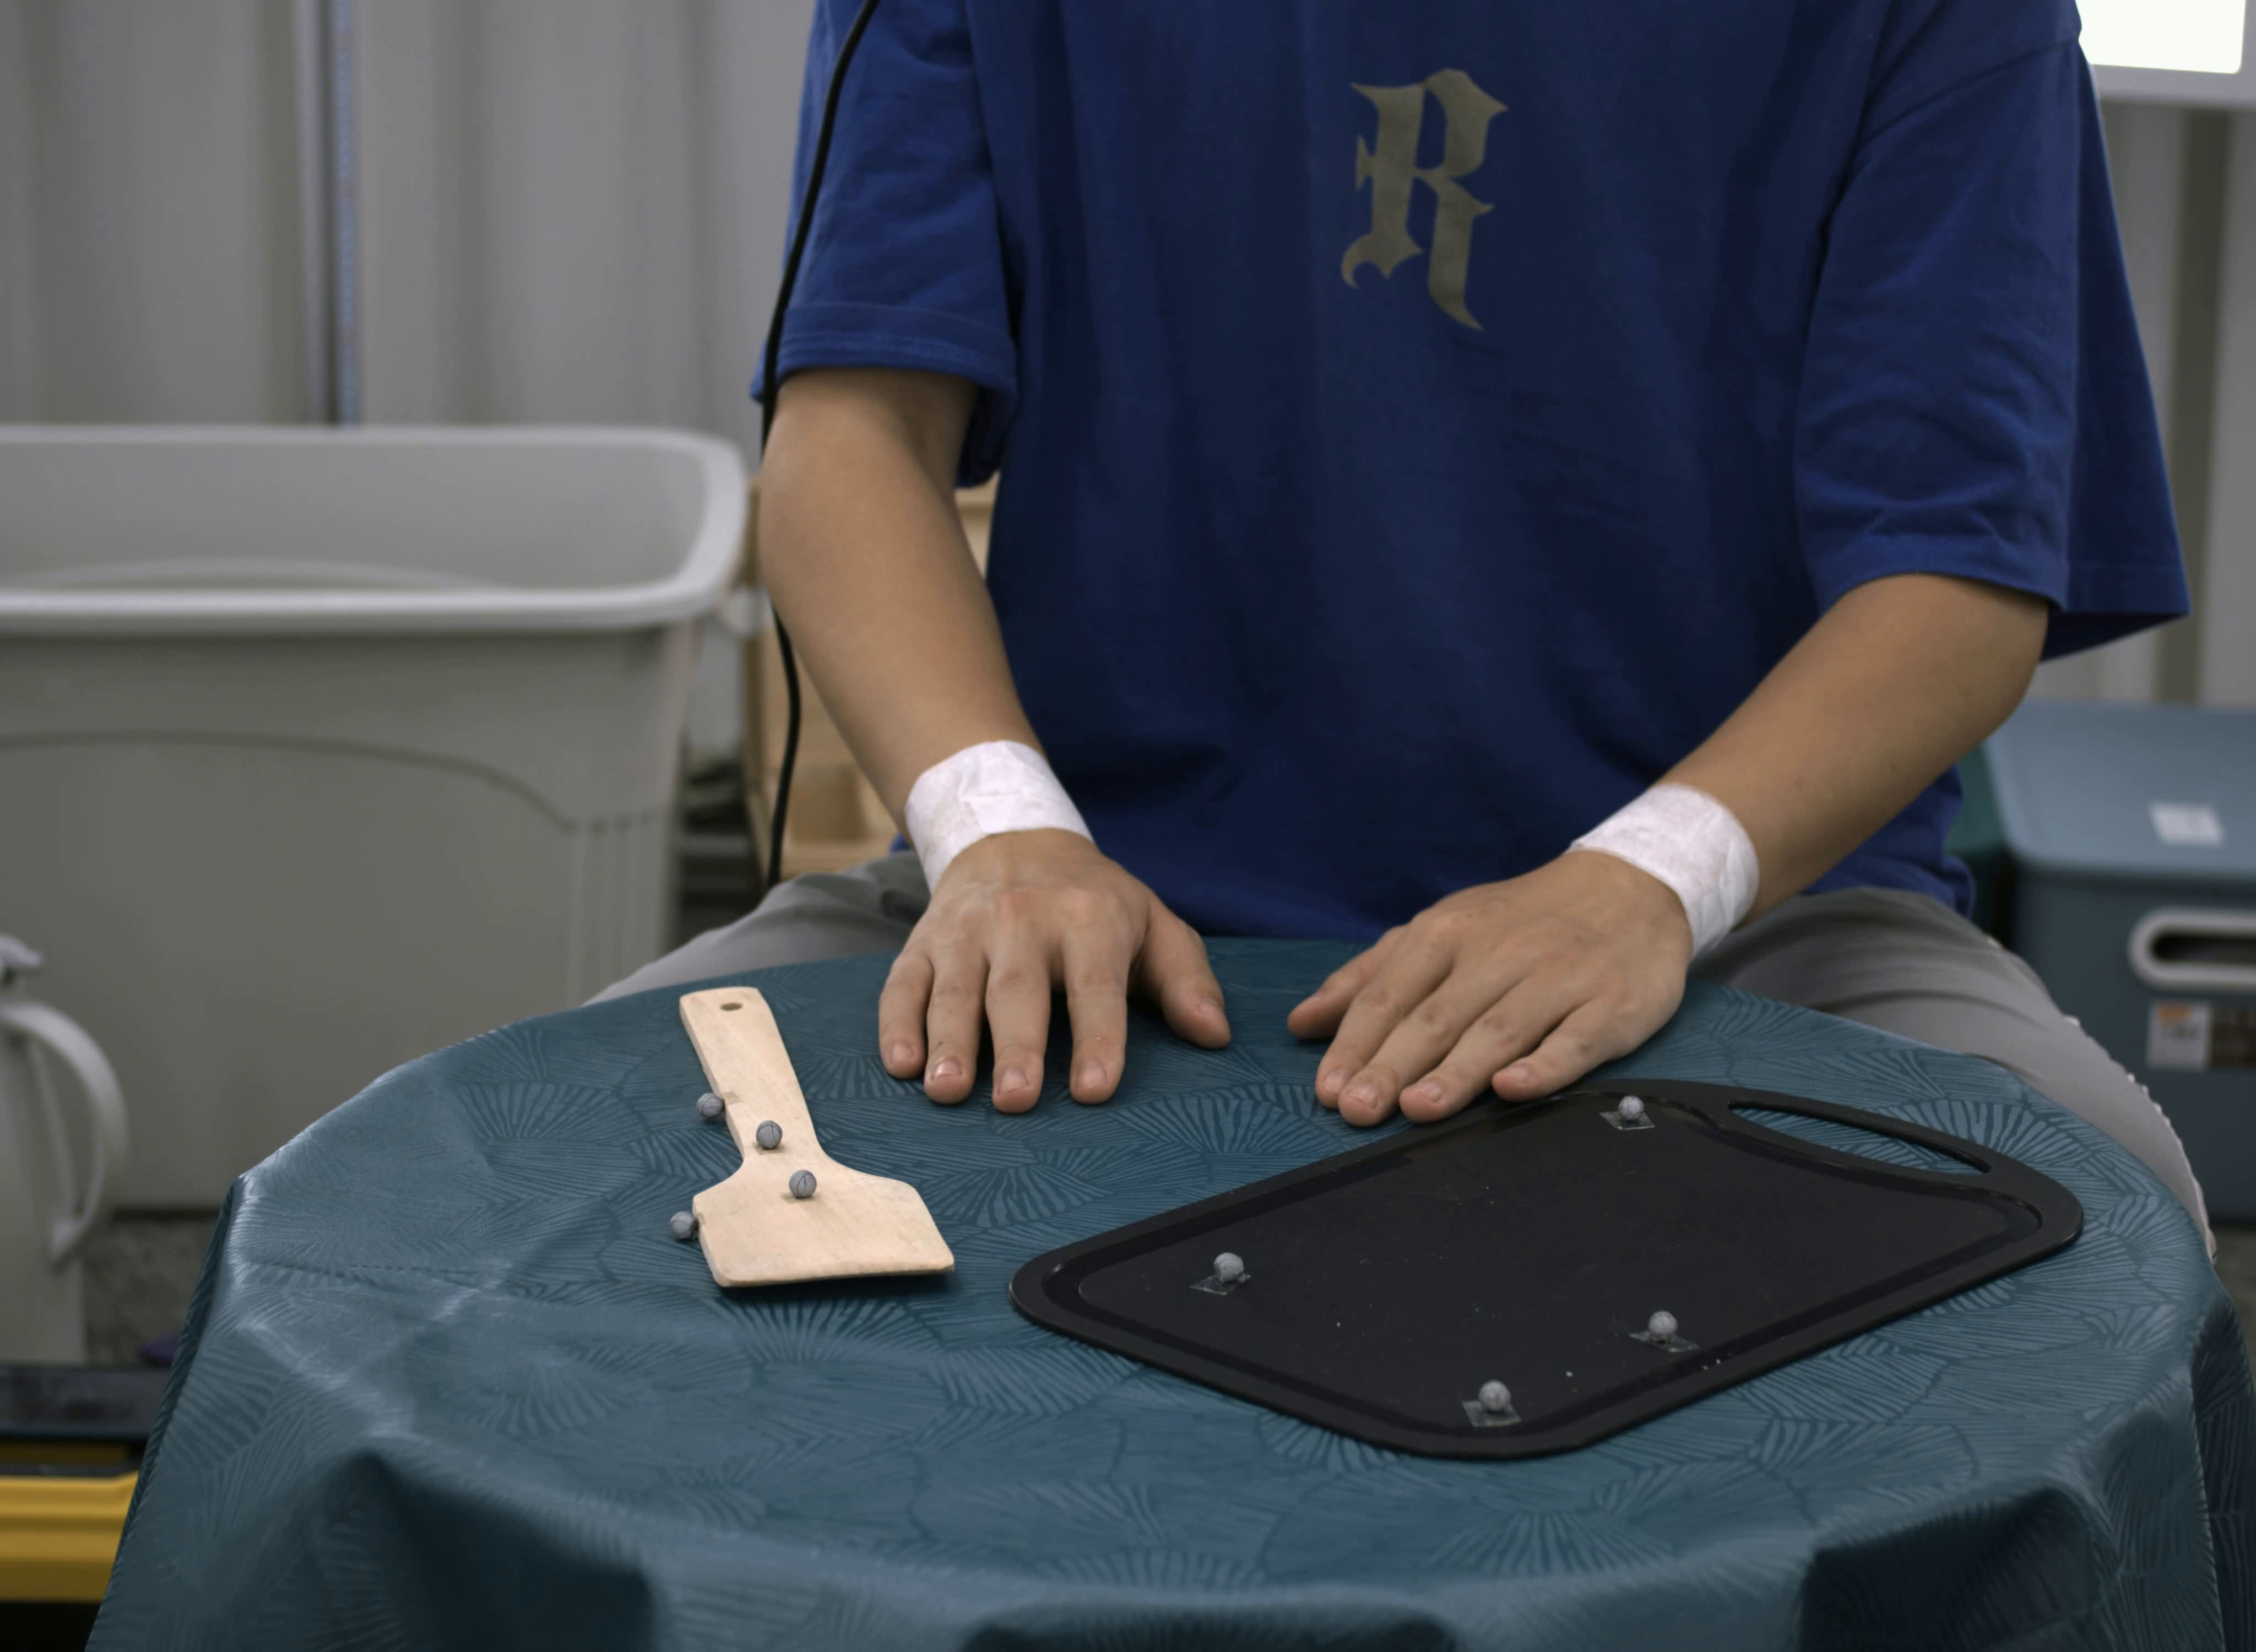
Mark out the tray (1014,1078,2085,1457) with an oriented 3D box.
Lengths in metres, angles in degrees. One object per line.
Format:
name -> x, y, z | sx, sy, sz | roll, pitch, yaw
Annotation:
tray -> 0.134, 0.123, 1.576 | 0.208, 0.010, 0.327 | 15, 21, 43

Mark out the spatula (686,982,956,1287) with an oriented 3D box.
spatula -> -0.112, 0.095, 1.664 | 0.072, 0.011, 0.290 | -4, 16, -11
